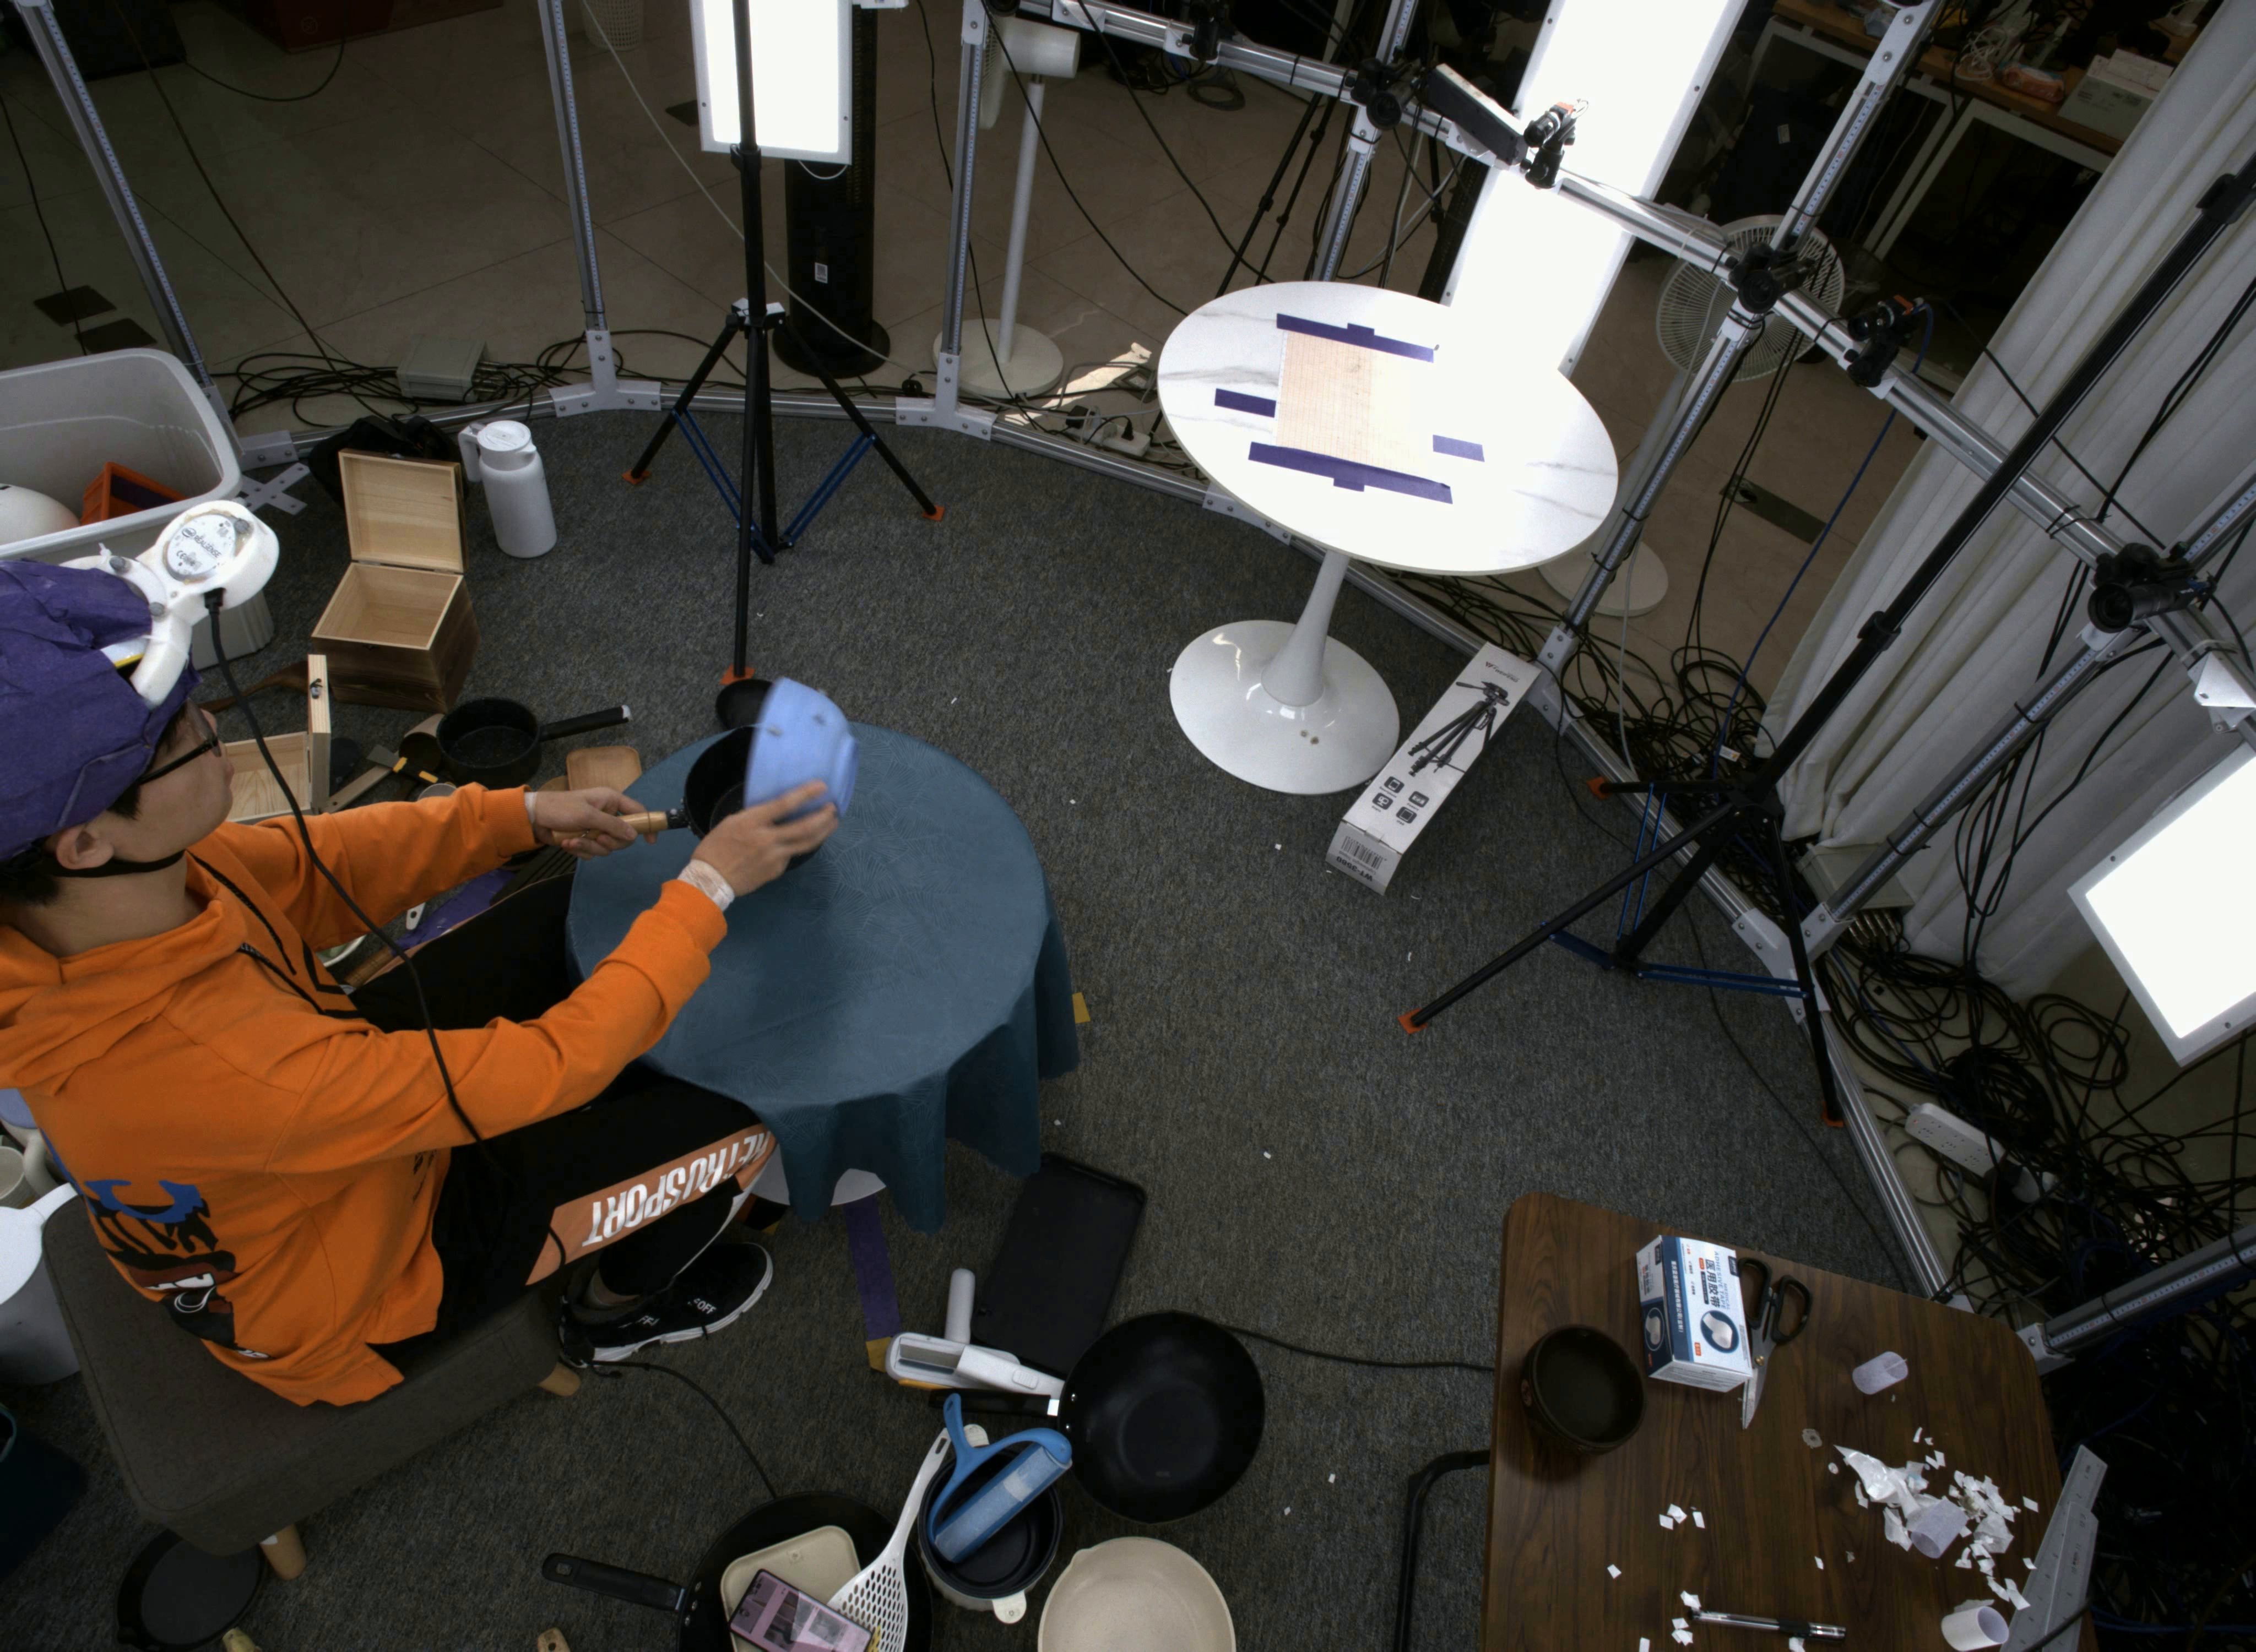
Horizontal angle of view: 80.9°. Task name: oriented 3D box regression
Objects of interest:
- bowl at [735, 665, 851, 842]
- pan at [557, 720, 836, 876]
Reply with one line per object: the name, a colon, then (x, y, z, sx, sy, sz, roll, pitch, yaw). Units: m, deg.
bowl: (-0.370, -0.076, 1.466, 0.094, 0.201, 0.193, 7, 51, -1)
pan: (-0.523, -0.010, 1.564, 0.344, 0.110, 0.203, -17, 64, -21)
